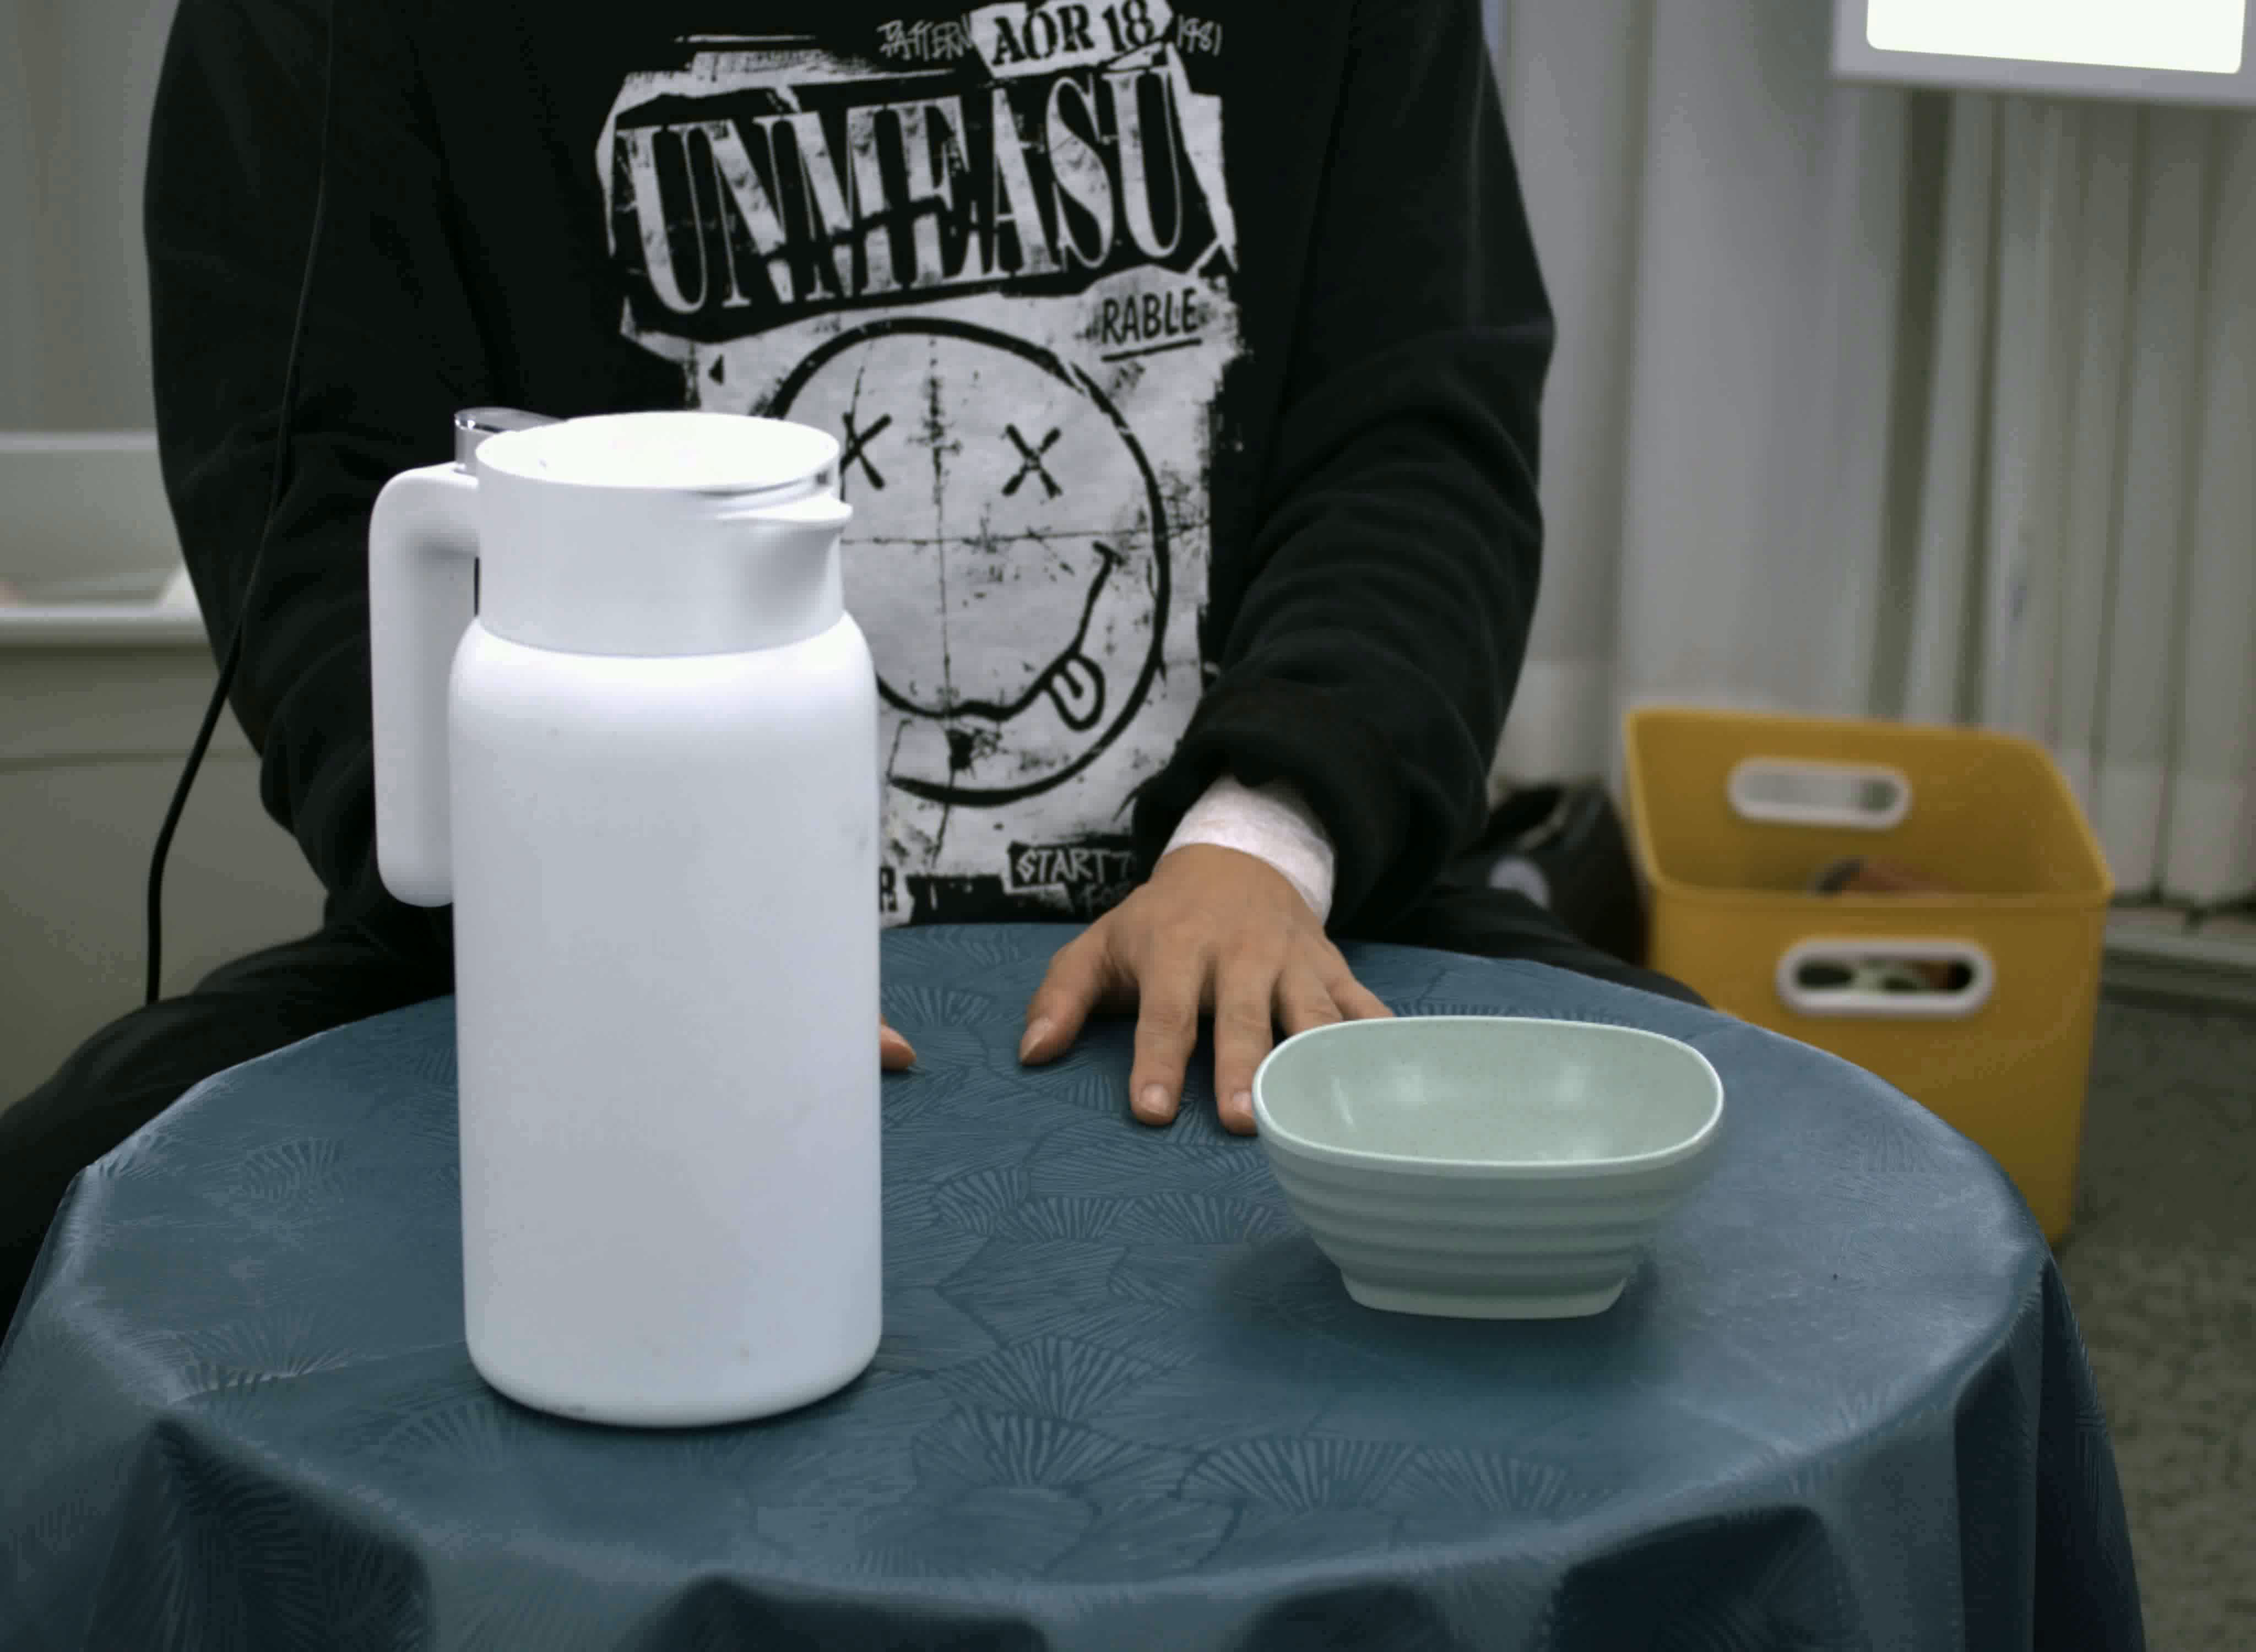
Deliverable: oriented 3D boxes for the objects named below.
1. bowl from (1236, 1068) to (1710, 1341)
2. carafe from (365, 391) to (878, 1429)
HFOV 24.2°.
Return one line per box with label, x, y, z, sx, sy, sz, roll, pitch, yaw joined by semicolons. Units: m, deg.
bowl;0.101;0.113;1.548;0.151;0.059;0.151;-1;9;1
carafe;-0.141;0.020;1.450;0.170;0.271;0.124;13;22;37
